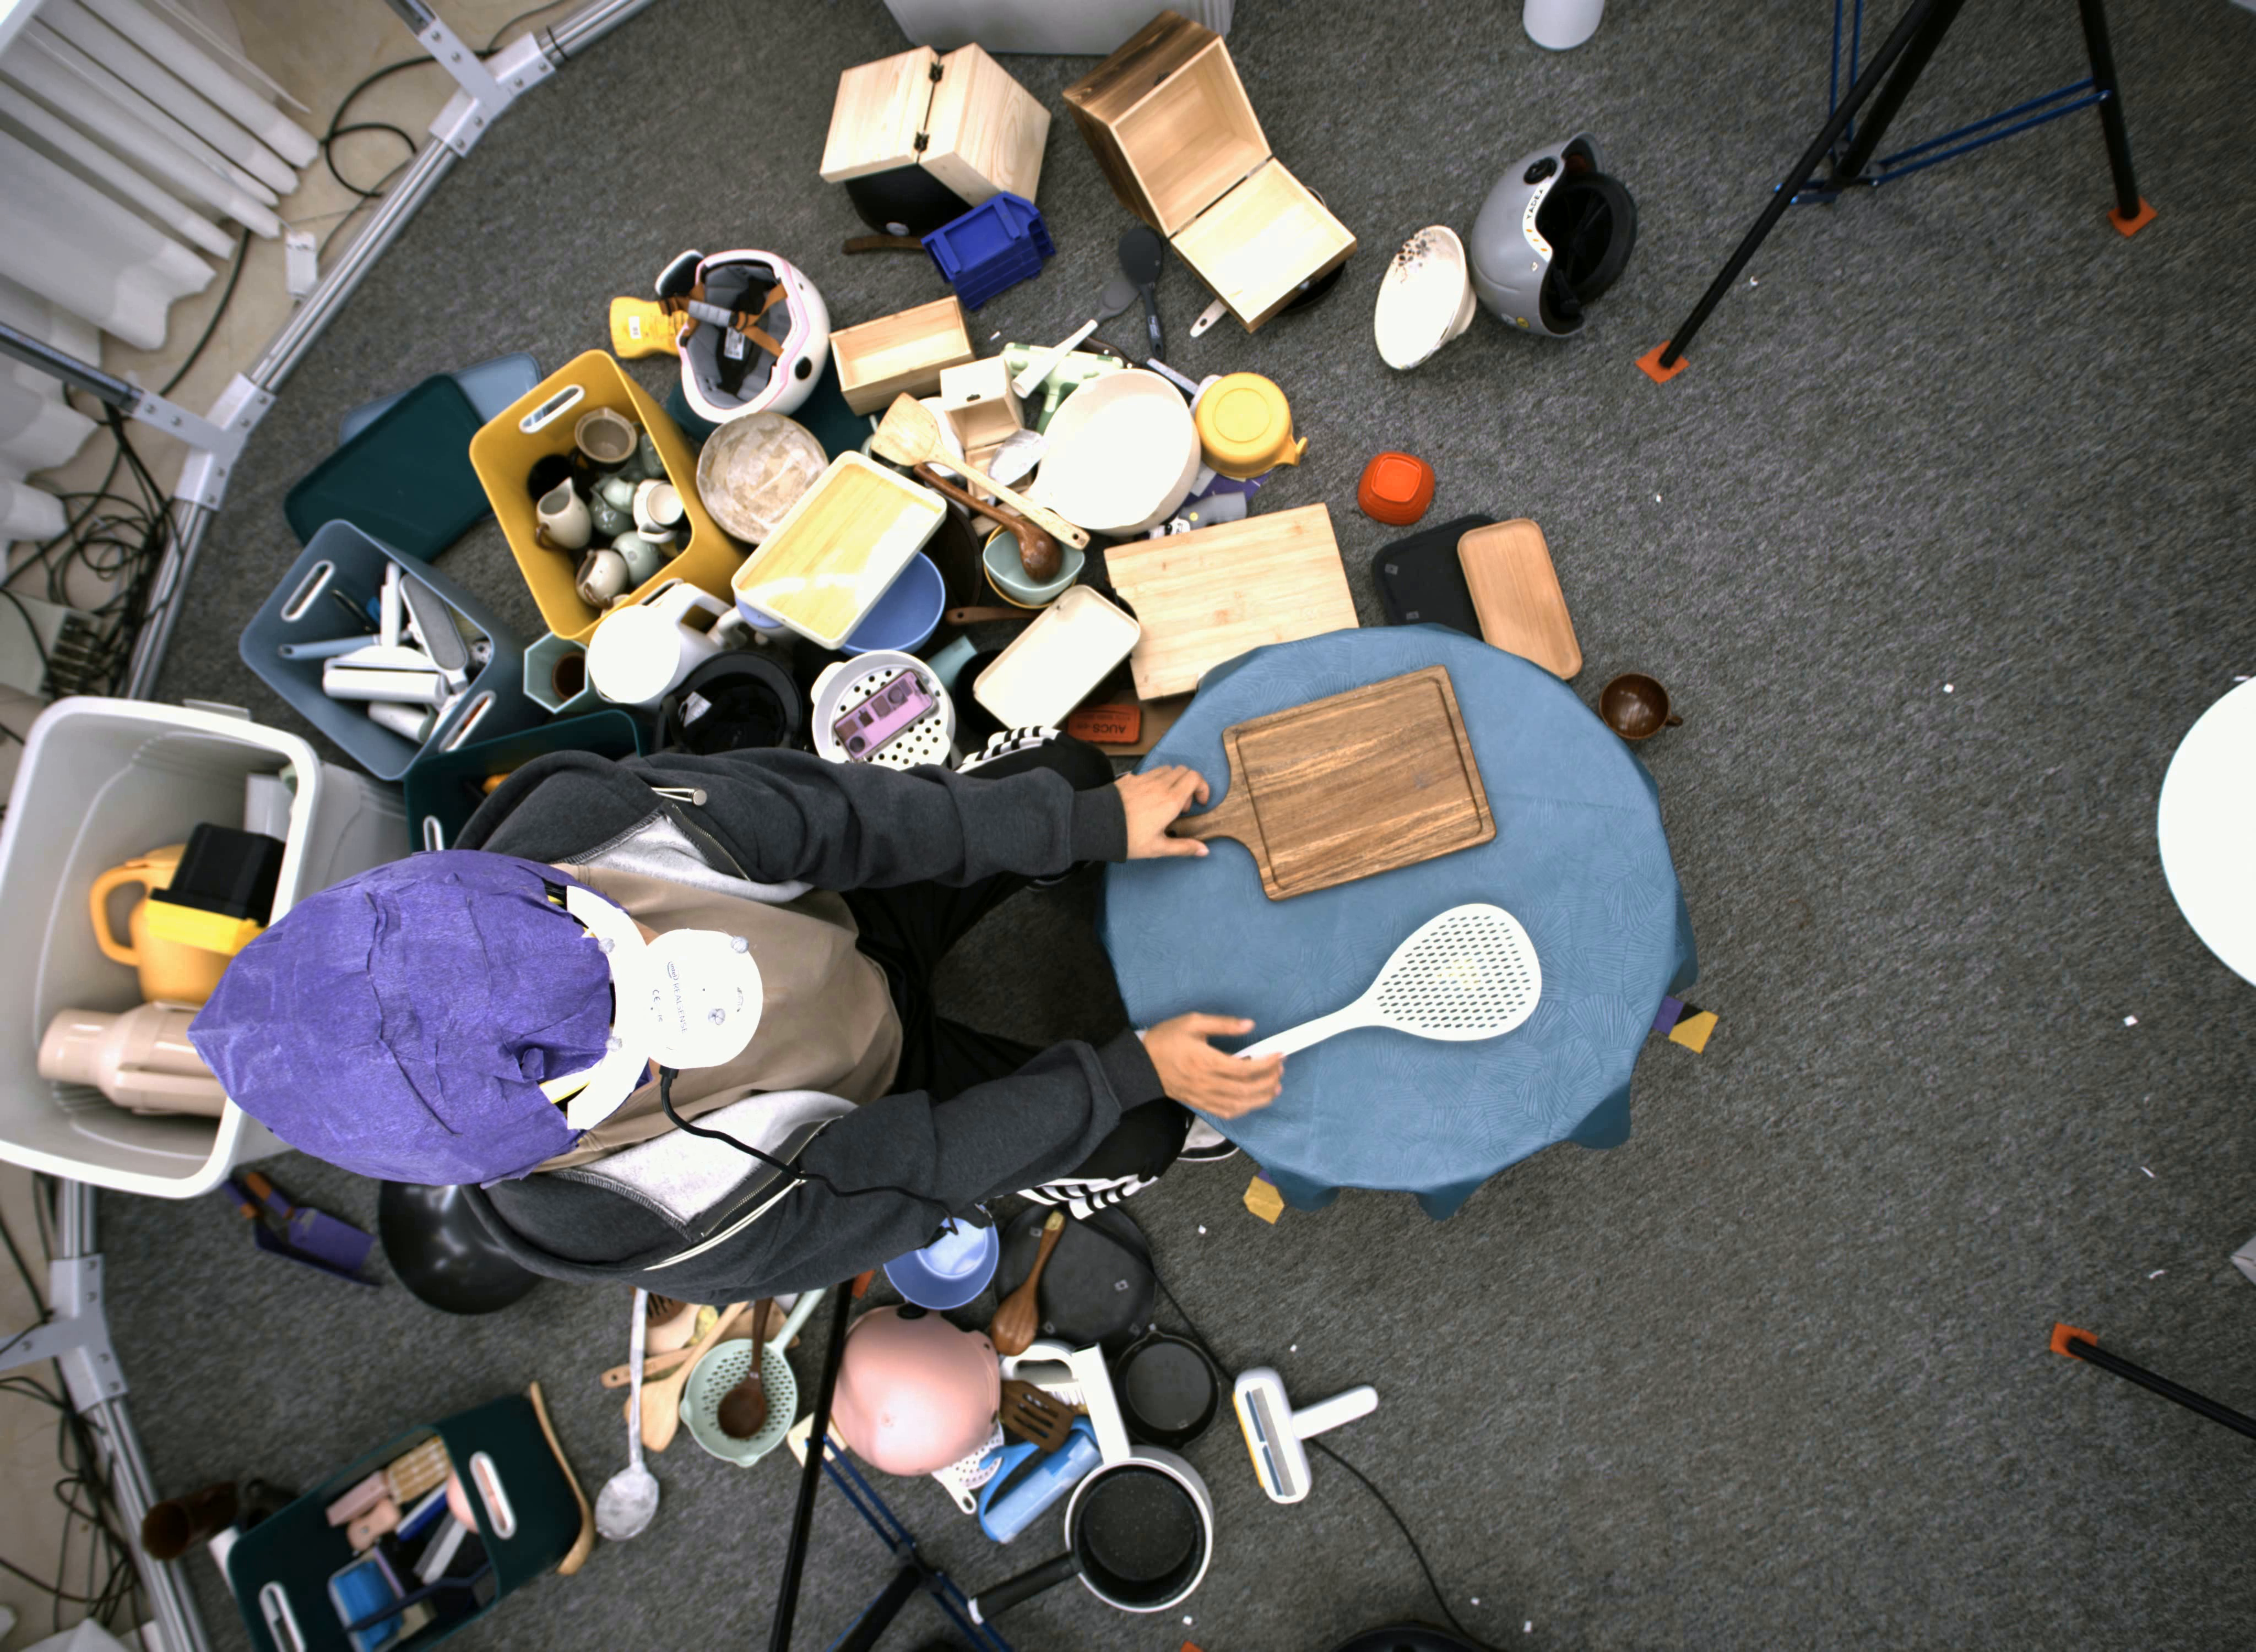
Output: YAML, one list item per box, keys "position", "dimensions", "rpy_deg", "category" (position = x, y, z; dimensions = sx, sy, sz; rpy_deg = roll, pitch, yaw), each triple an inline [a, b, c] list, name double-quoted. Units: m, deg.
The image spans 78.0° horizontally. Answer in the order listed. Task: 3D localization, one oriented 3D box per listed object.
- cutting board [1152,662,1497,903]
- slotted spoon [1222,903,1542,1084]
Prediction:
- position: [0.194, -0.033, 1.468]
  dimensions: [0.354, 0.023, 0.200]
  rpy_deg: [-16, 83, 9]
  category: "cutting board"
- position: [0.254, 0.191, 1.435]
  dimensions: [0.350, 0.050, 0.136]
  rpy_deg: [-23, 85, 8]
  category: "slotted spoon"
